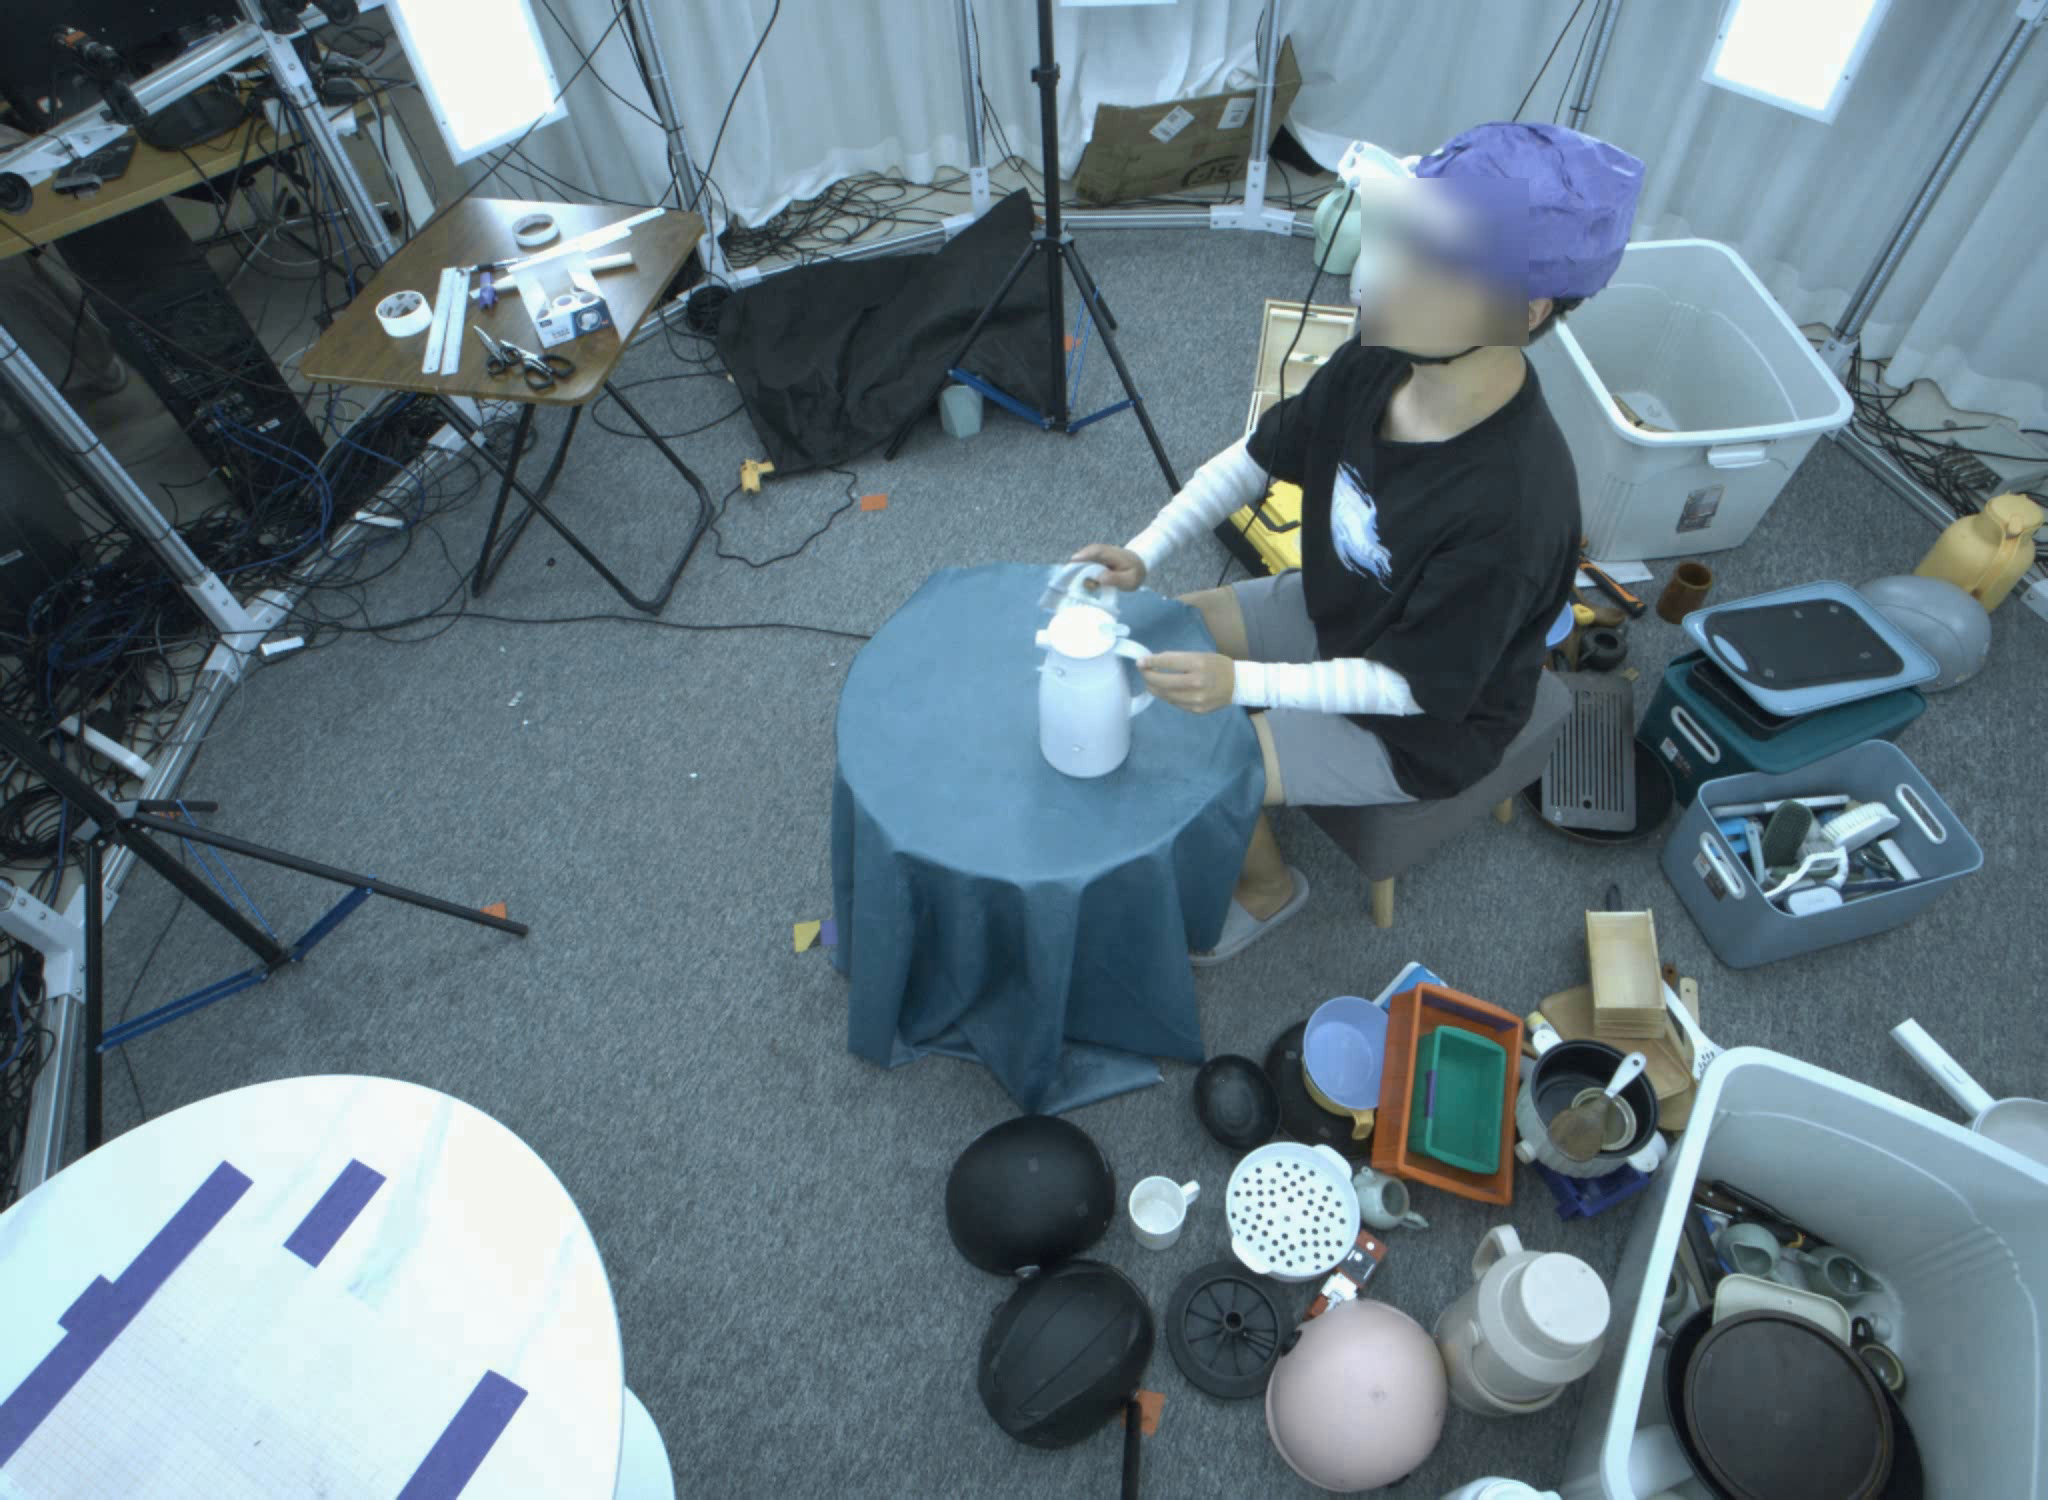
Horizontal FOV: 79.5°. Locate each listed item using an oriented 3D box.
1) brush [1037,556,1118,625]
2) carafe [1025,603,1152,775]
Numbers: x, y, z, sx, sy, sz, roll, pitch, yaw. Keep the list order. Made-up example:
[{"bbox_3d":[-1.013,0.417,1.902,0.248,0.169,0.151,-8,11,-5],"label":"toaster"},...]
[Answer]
[{"bbox_3d":[0.075,-0.229,1.739,0.060,0.179,0.094,14,93,32],"label":"brush"},{"bbox_3d":[0.090,-0.089,1.684,0.167,0.251,0.131,1,54,4],"label":"carafe"}]
